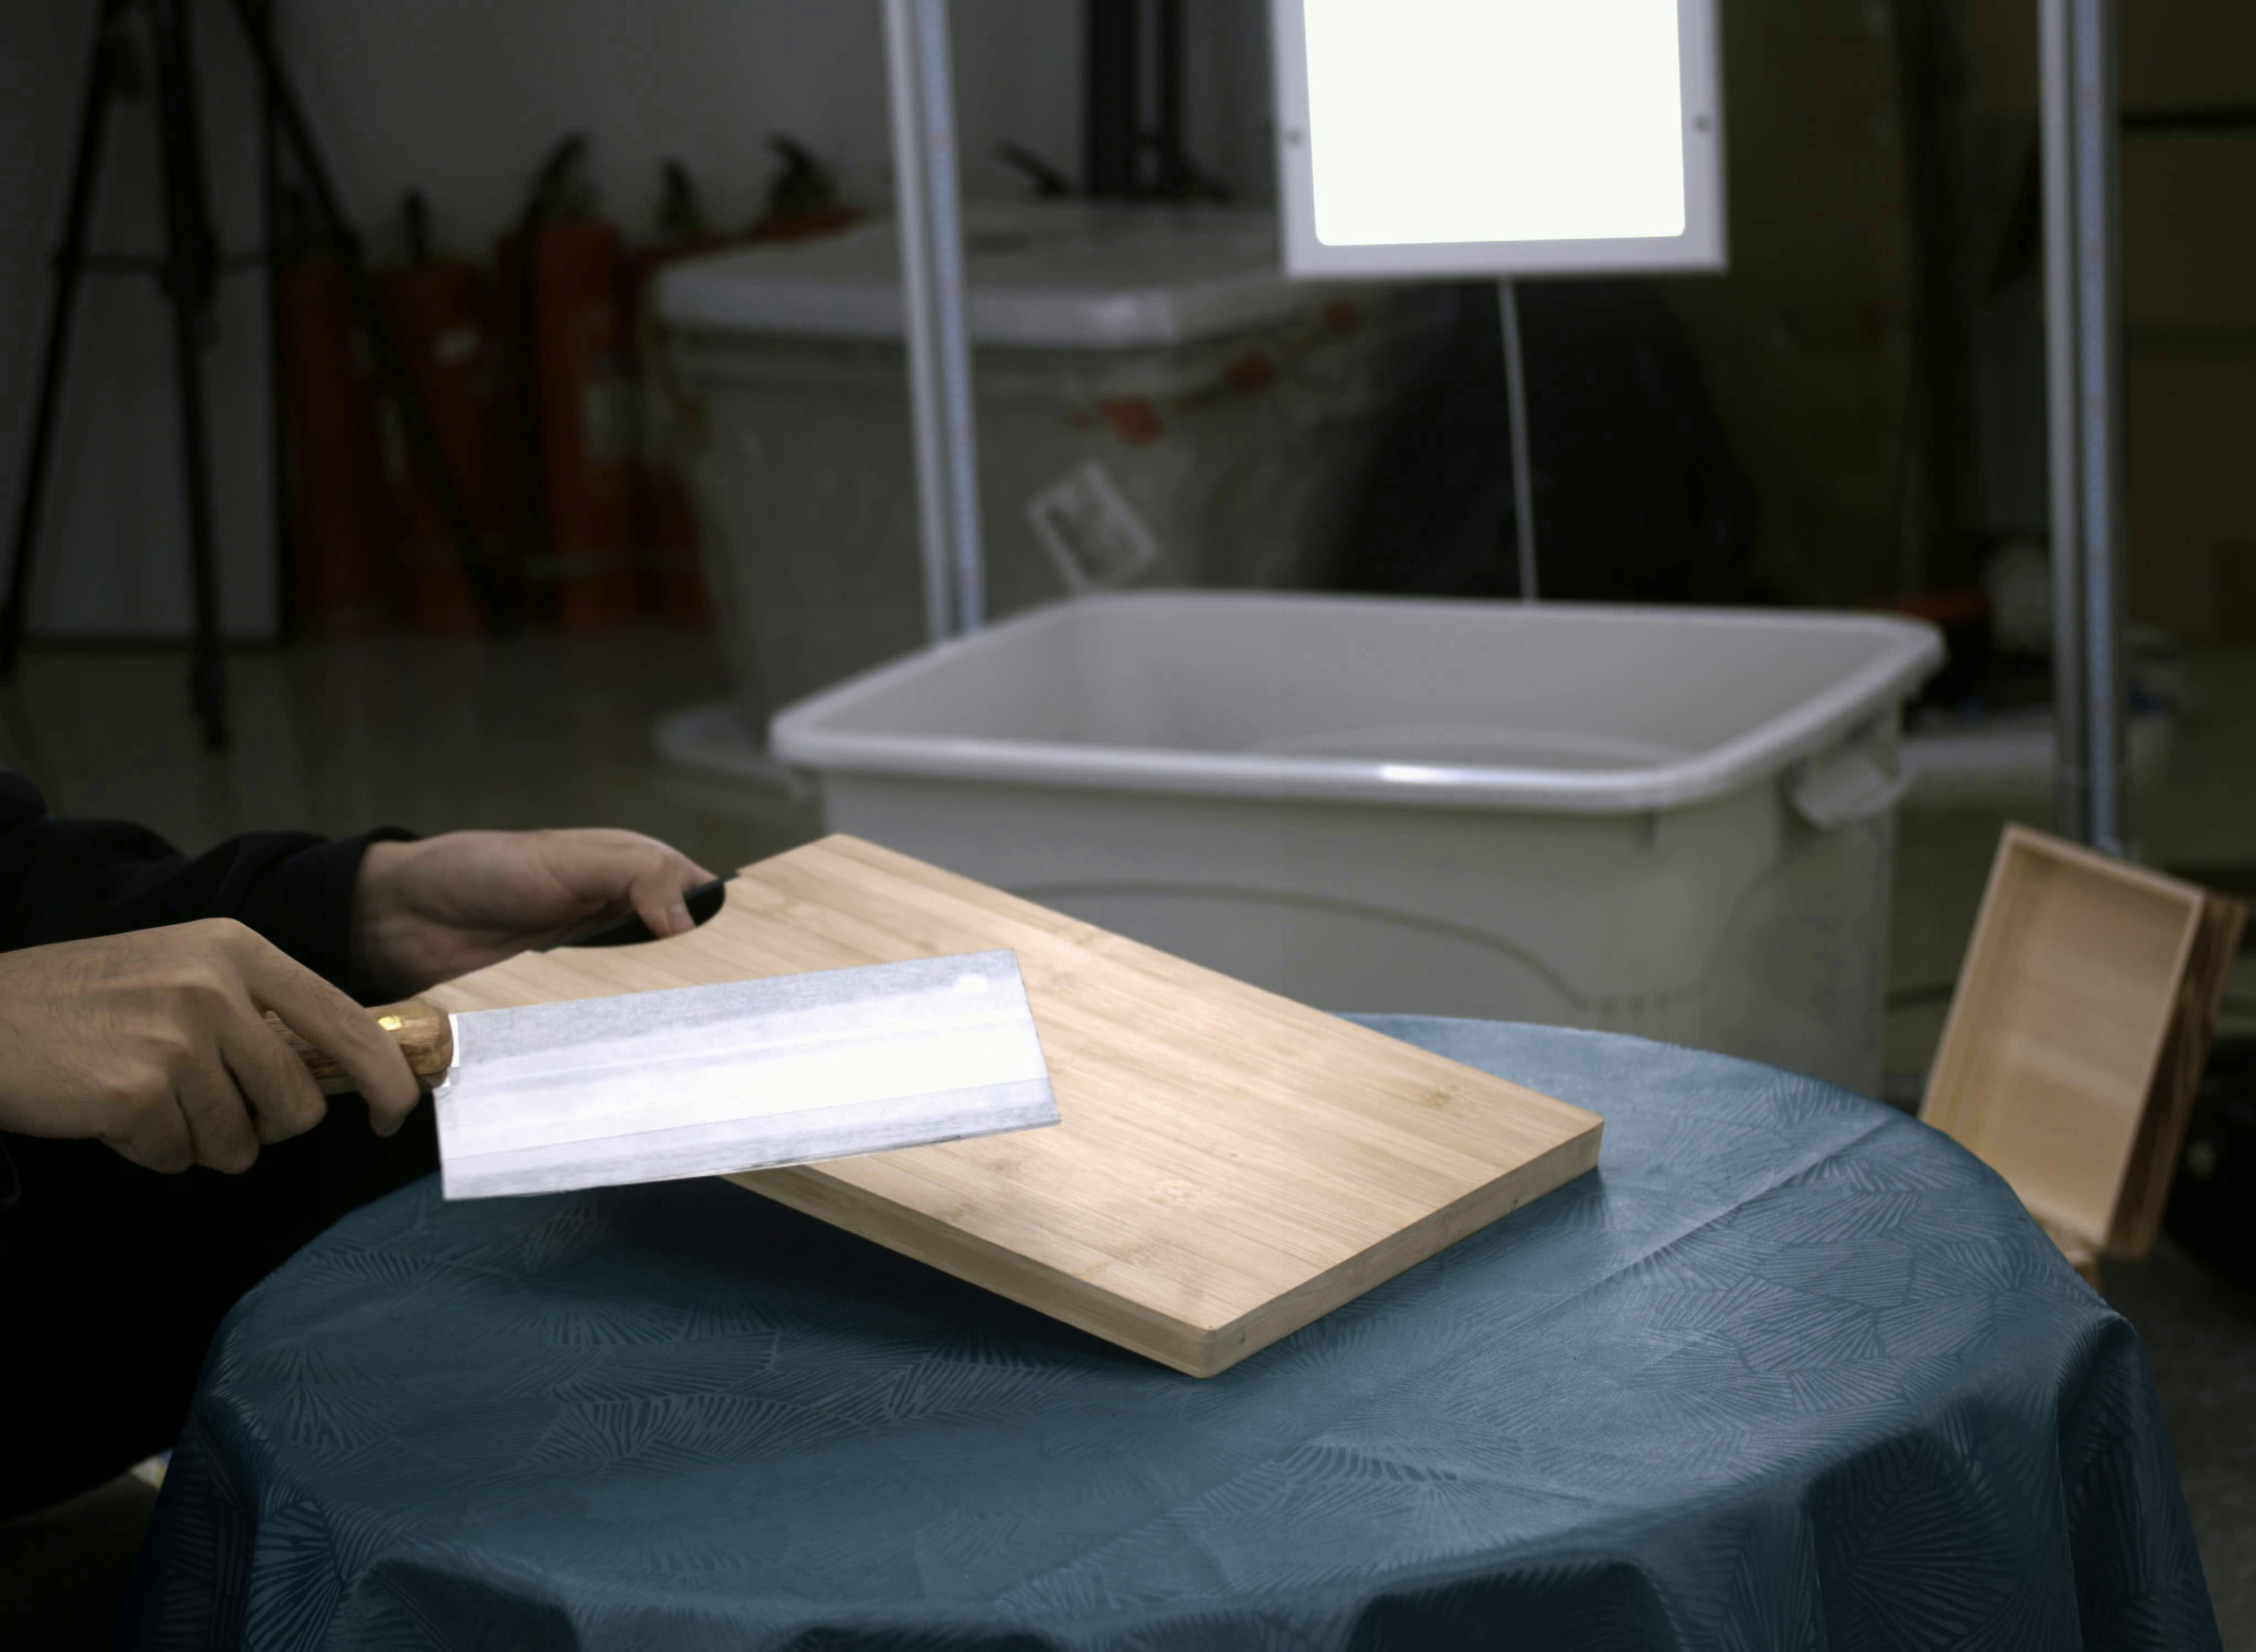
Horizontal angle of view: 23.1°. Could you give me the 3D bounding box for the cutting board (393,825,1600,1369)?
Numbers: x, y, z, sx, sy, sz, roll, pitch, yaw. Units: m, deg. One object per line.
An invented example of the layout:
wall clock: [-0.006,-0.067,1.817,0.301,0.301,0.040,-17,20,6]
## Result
cutting board: [-0.045,0.086,1.889,0.355,0.024,0.244,19,25,32]

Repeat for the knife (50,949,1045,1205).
knife: [-0.178,0.082,1.702,0.303,0.021,0.093,-7,37,-5]
